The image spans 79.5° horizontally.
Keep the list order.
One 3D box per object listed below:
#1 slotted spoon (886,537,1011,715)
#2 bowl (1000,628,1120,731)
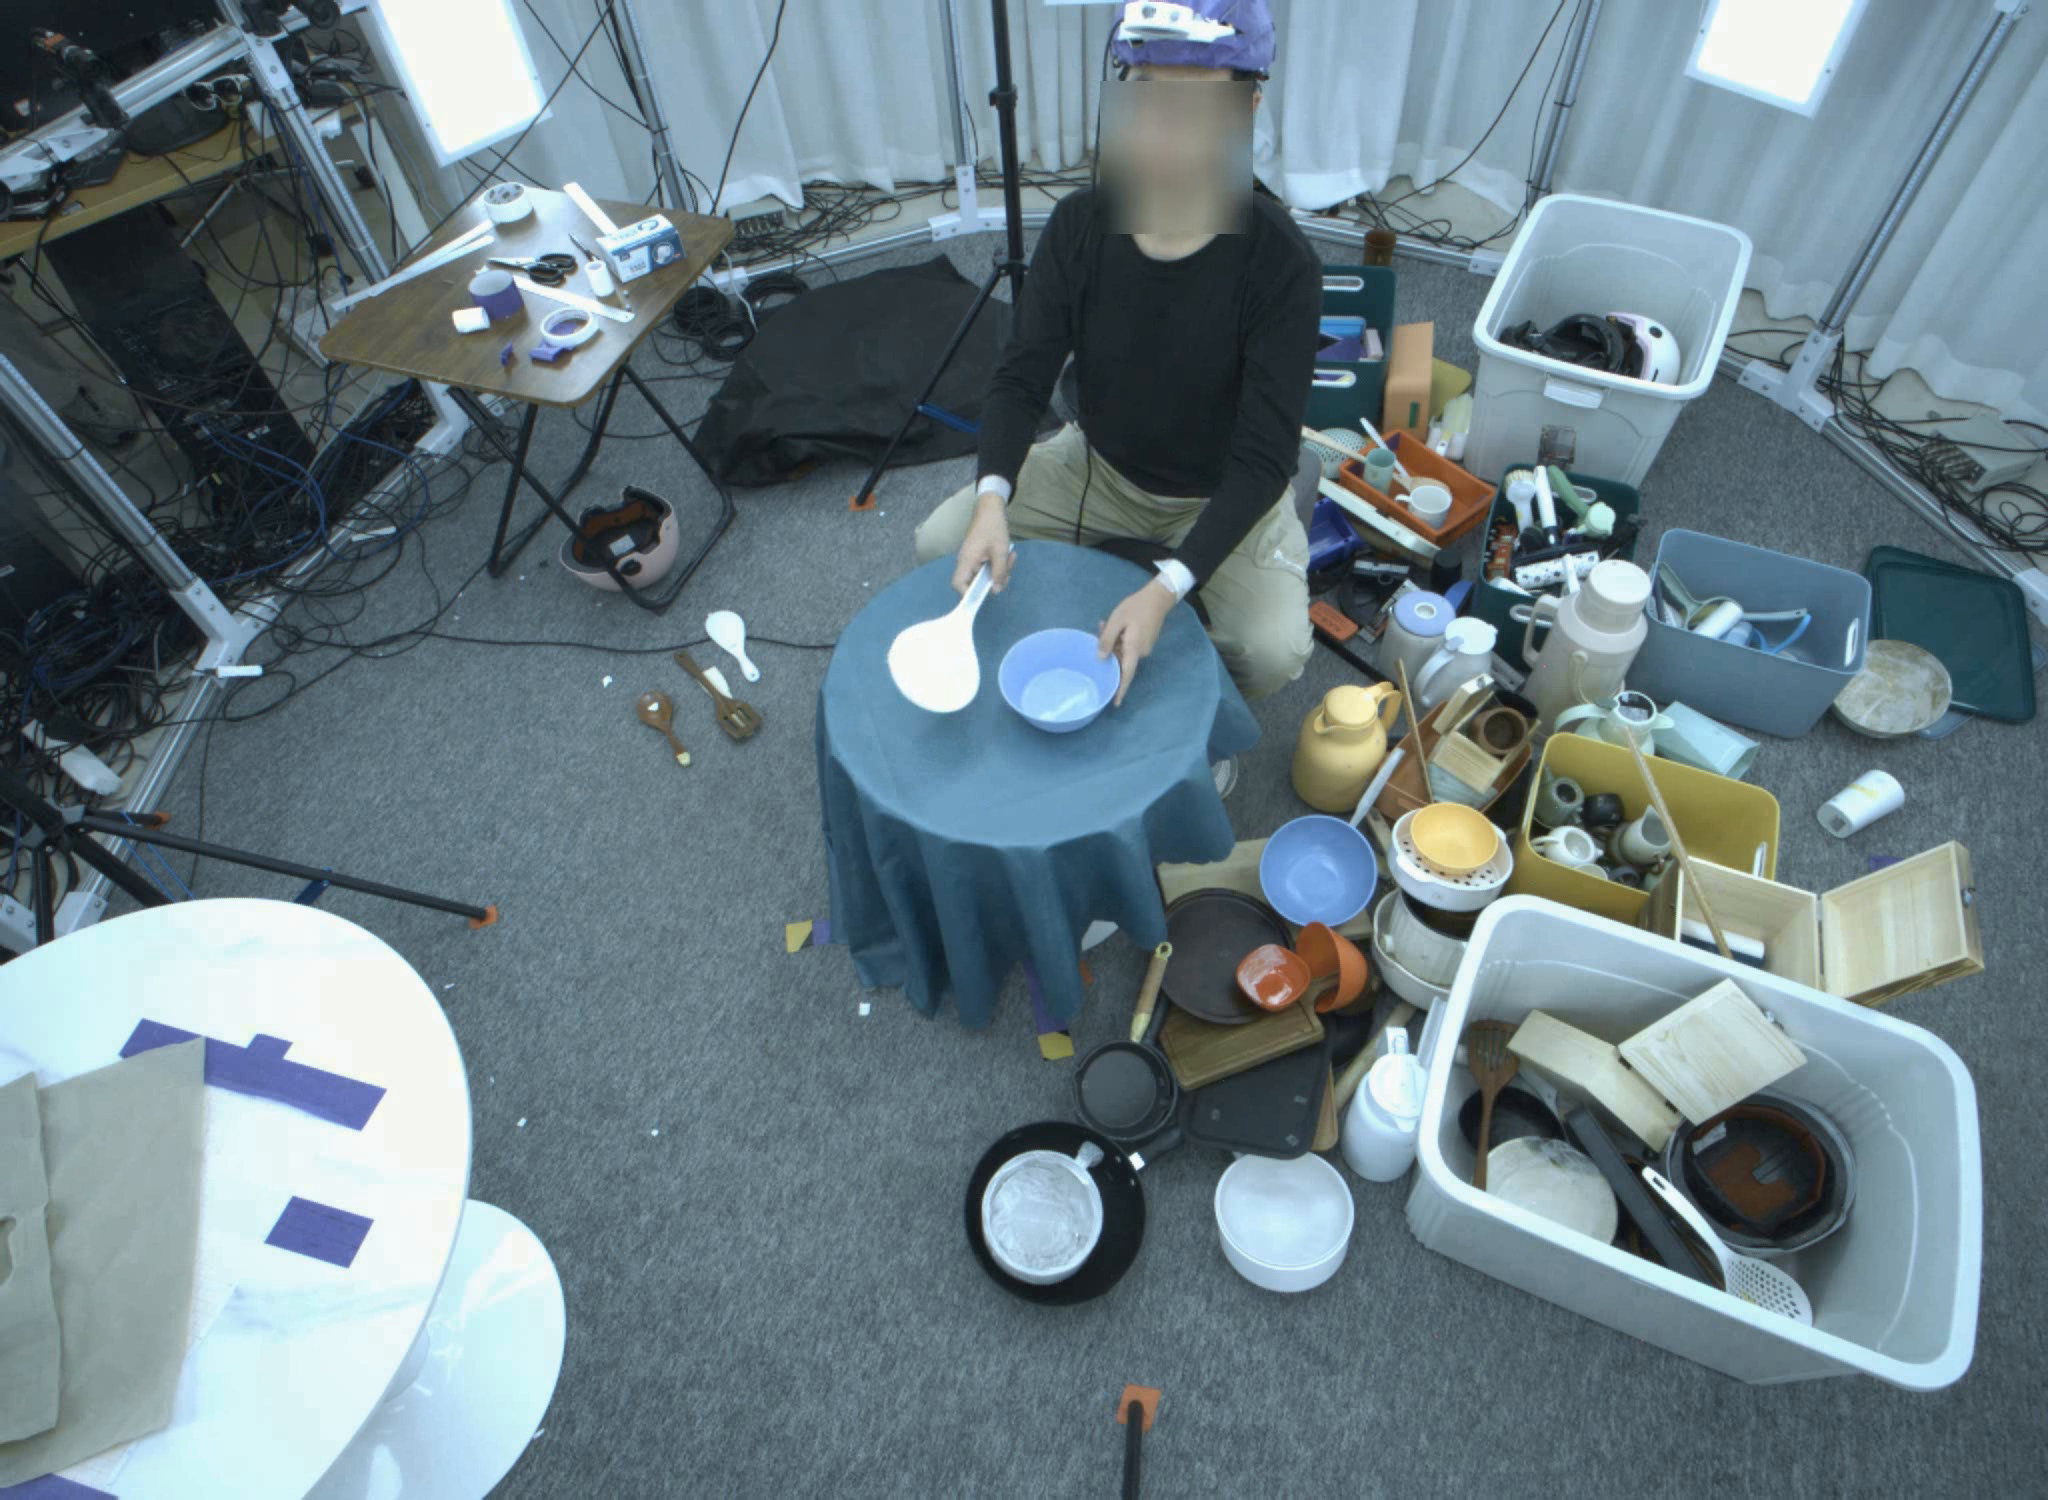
[{"bbox_3d":[-0.096,-0.191,1.807,0.137,0.045,0.349,33,61,-12],"label":"slotted spoon"},{"bbox_3d":[0.053,-0.093,1.809,0.176,0.071,0.174,0,54,2],"label":"bowl"}]
